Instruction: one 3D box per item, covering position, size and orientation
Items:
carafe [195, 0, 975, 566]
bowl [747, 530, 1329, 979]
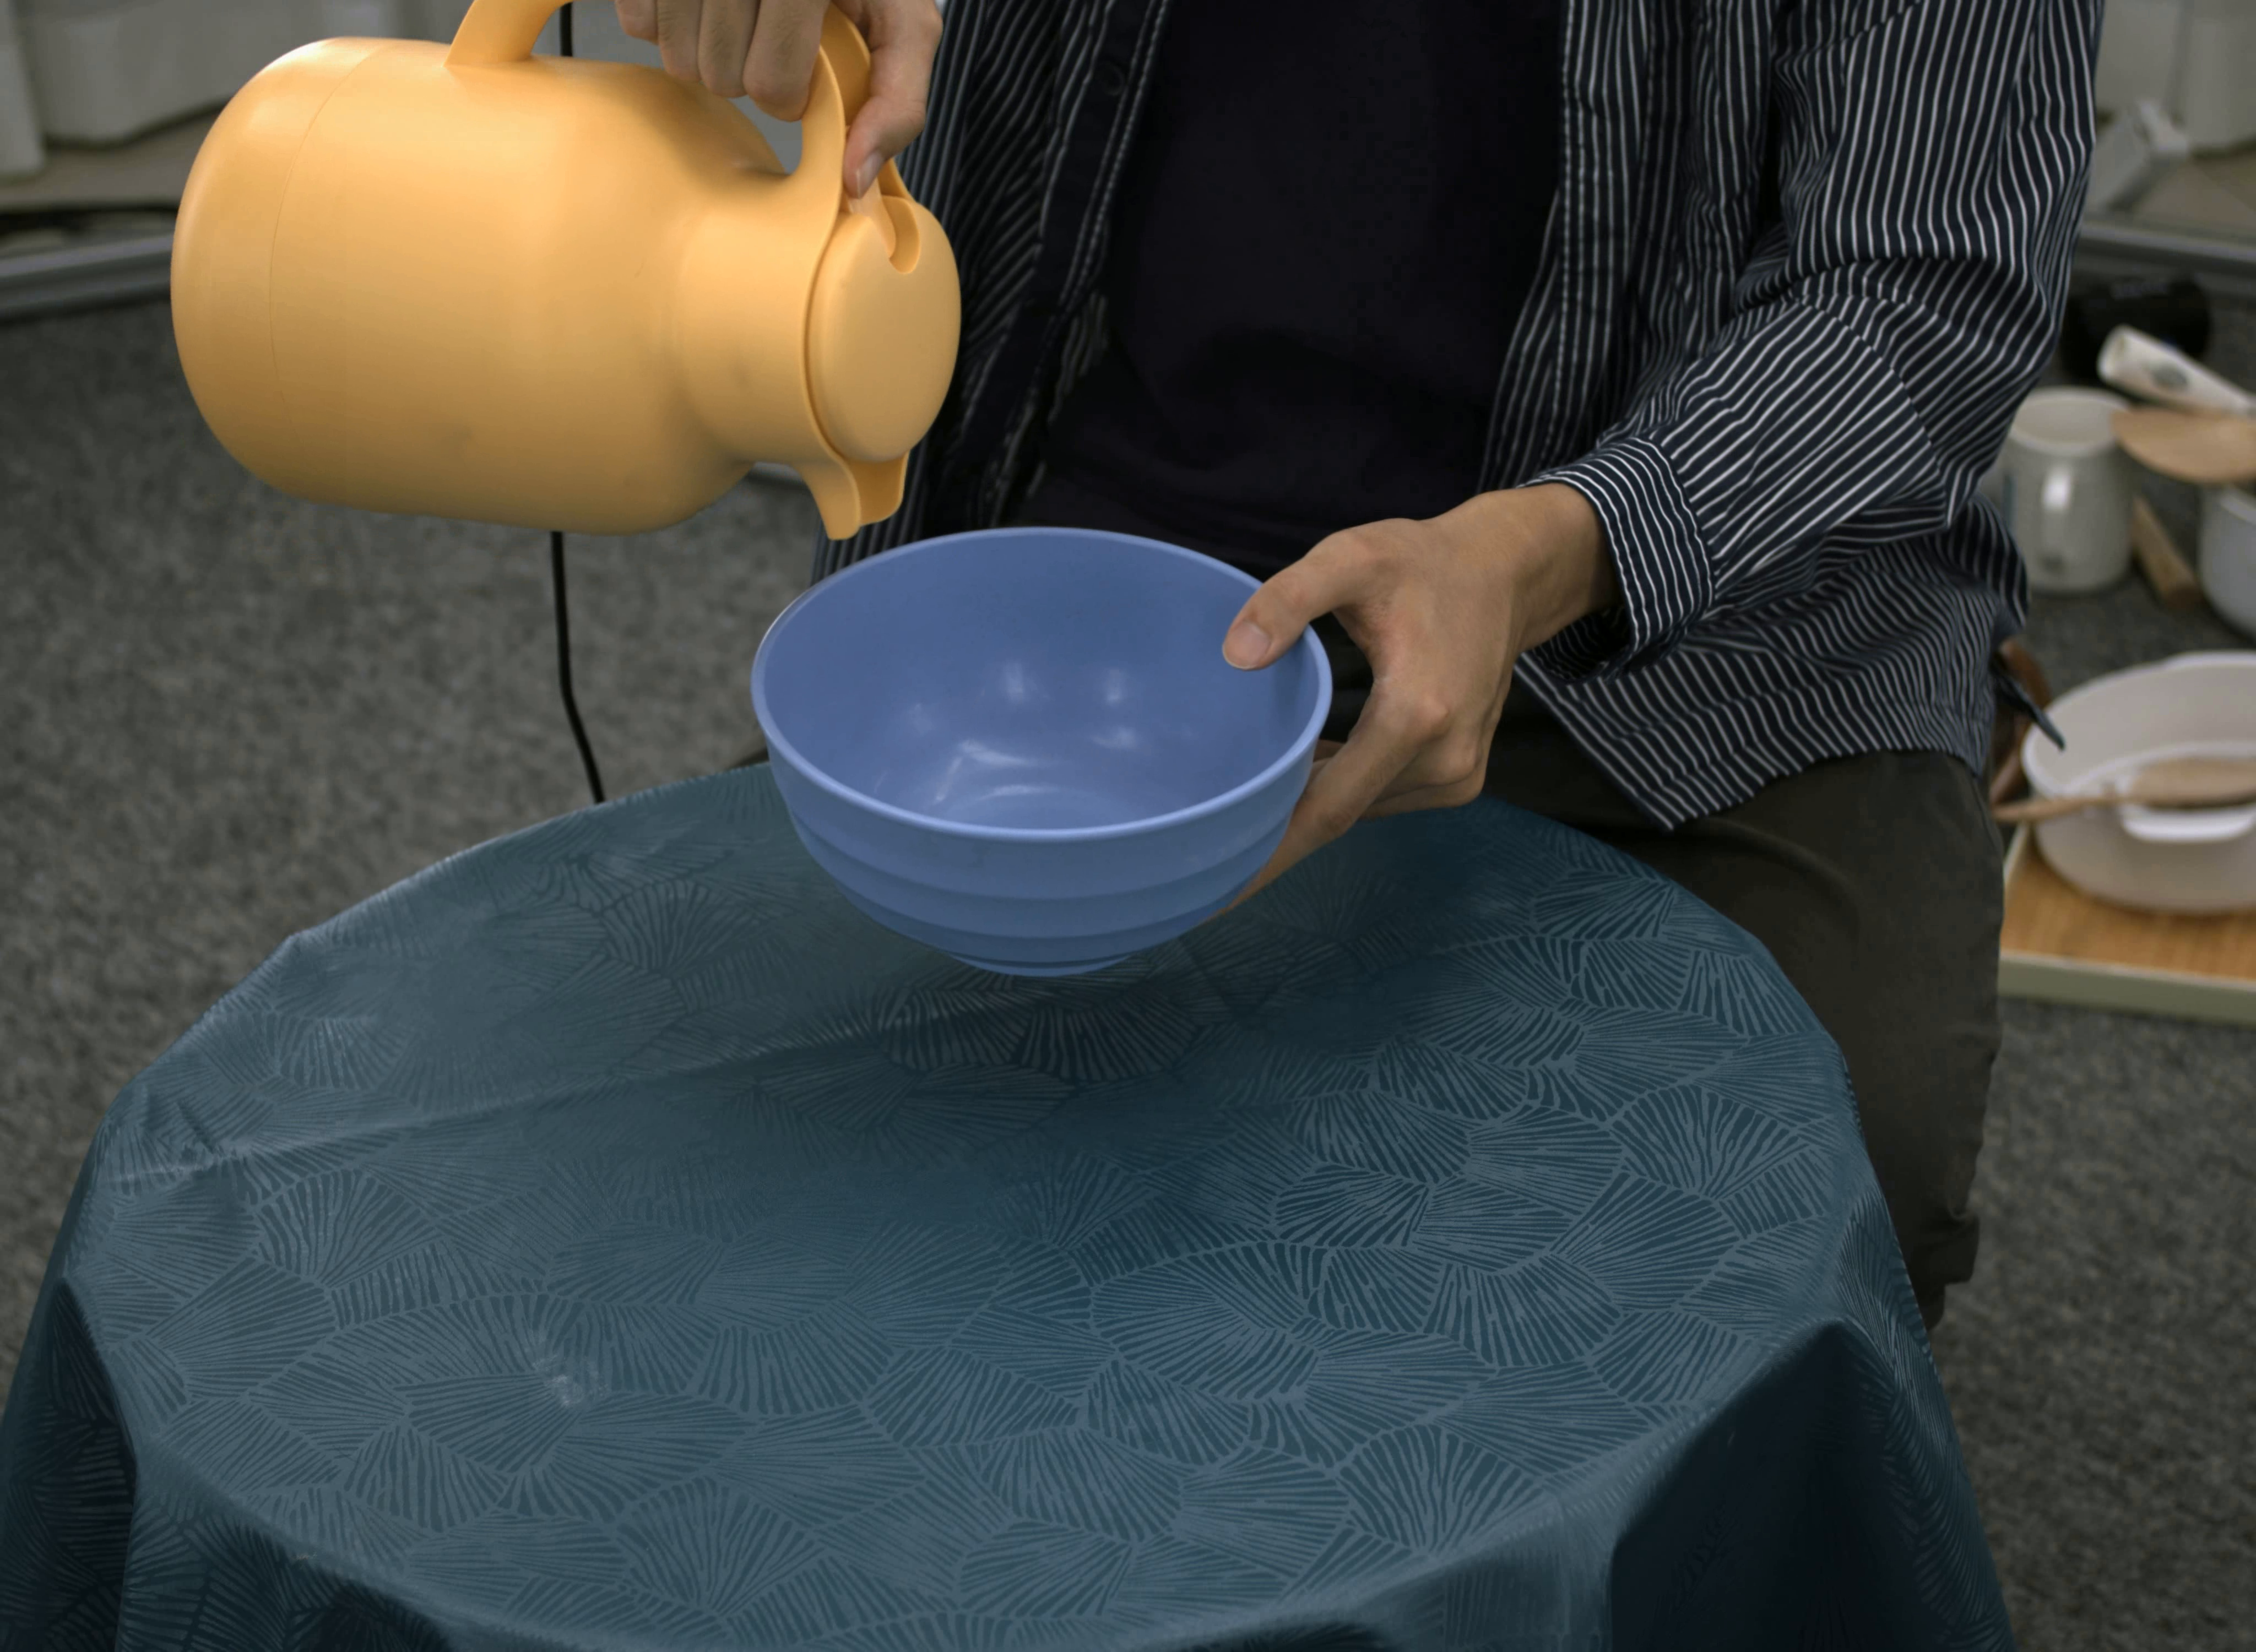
[{"bbox_3d":[-0.180,-0.191,1.920,0.258,0.201,0.165,8,21,27],"label":"carafe"},{"bbox_3d":[-0.030,-0.012,1.915,0.195,0.094,0.200,1,33,0],"label":"bowl"}]
